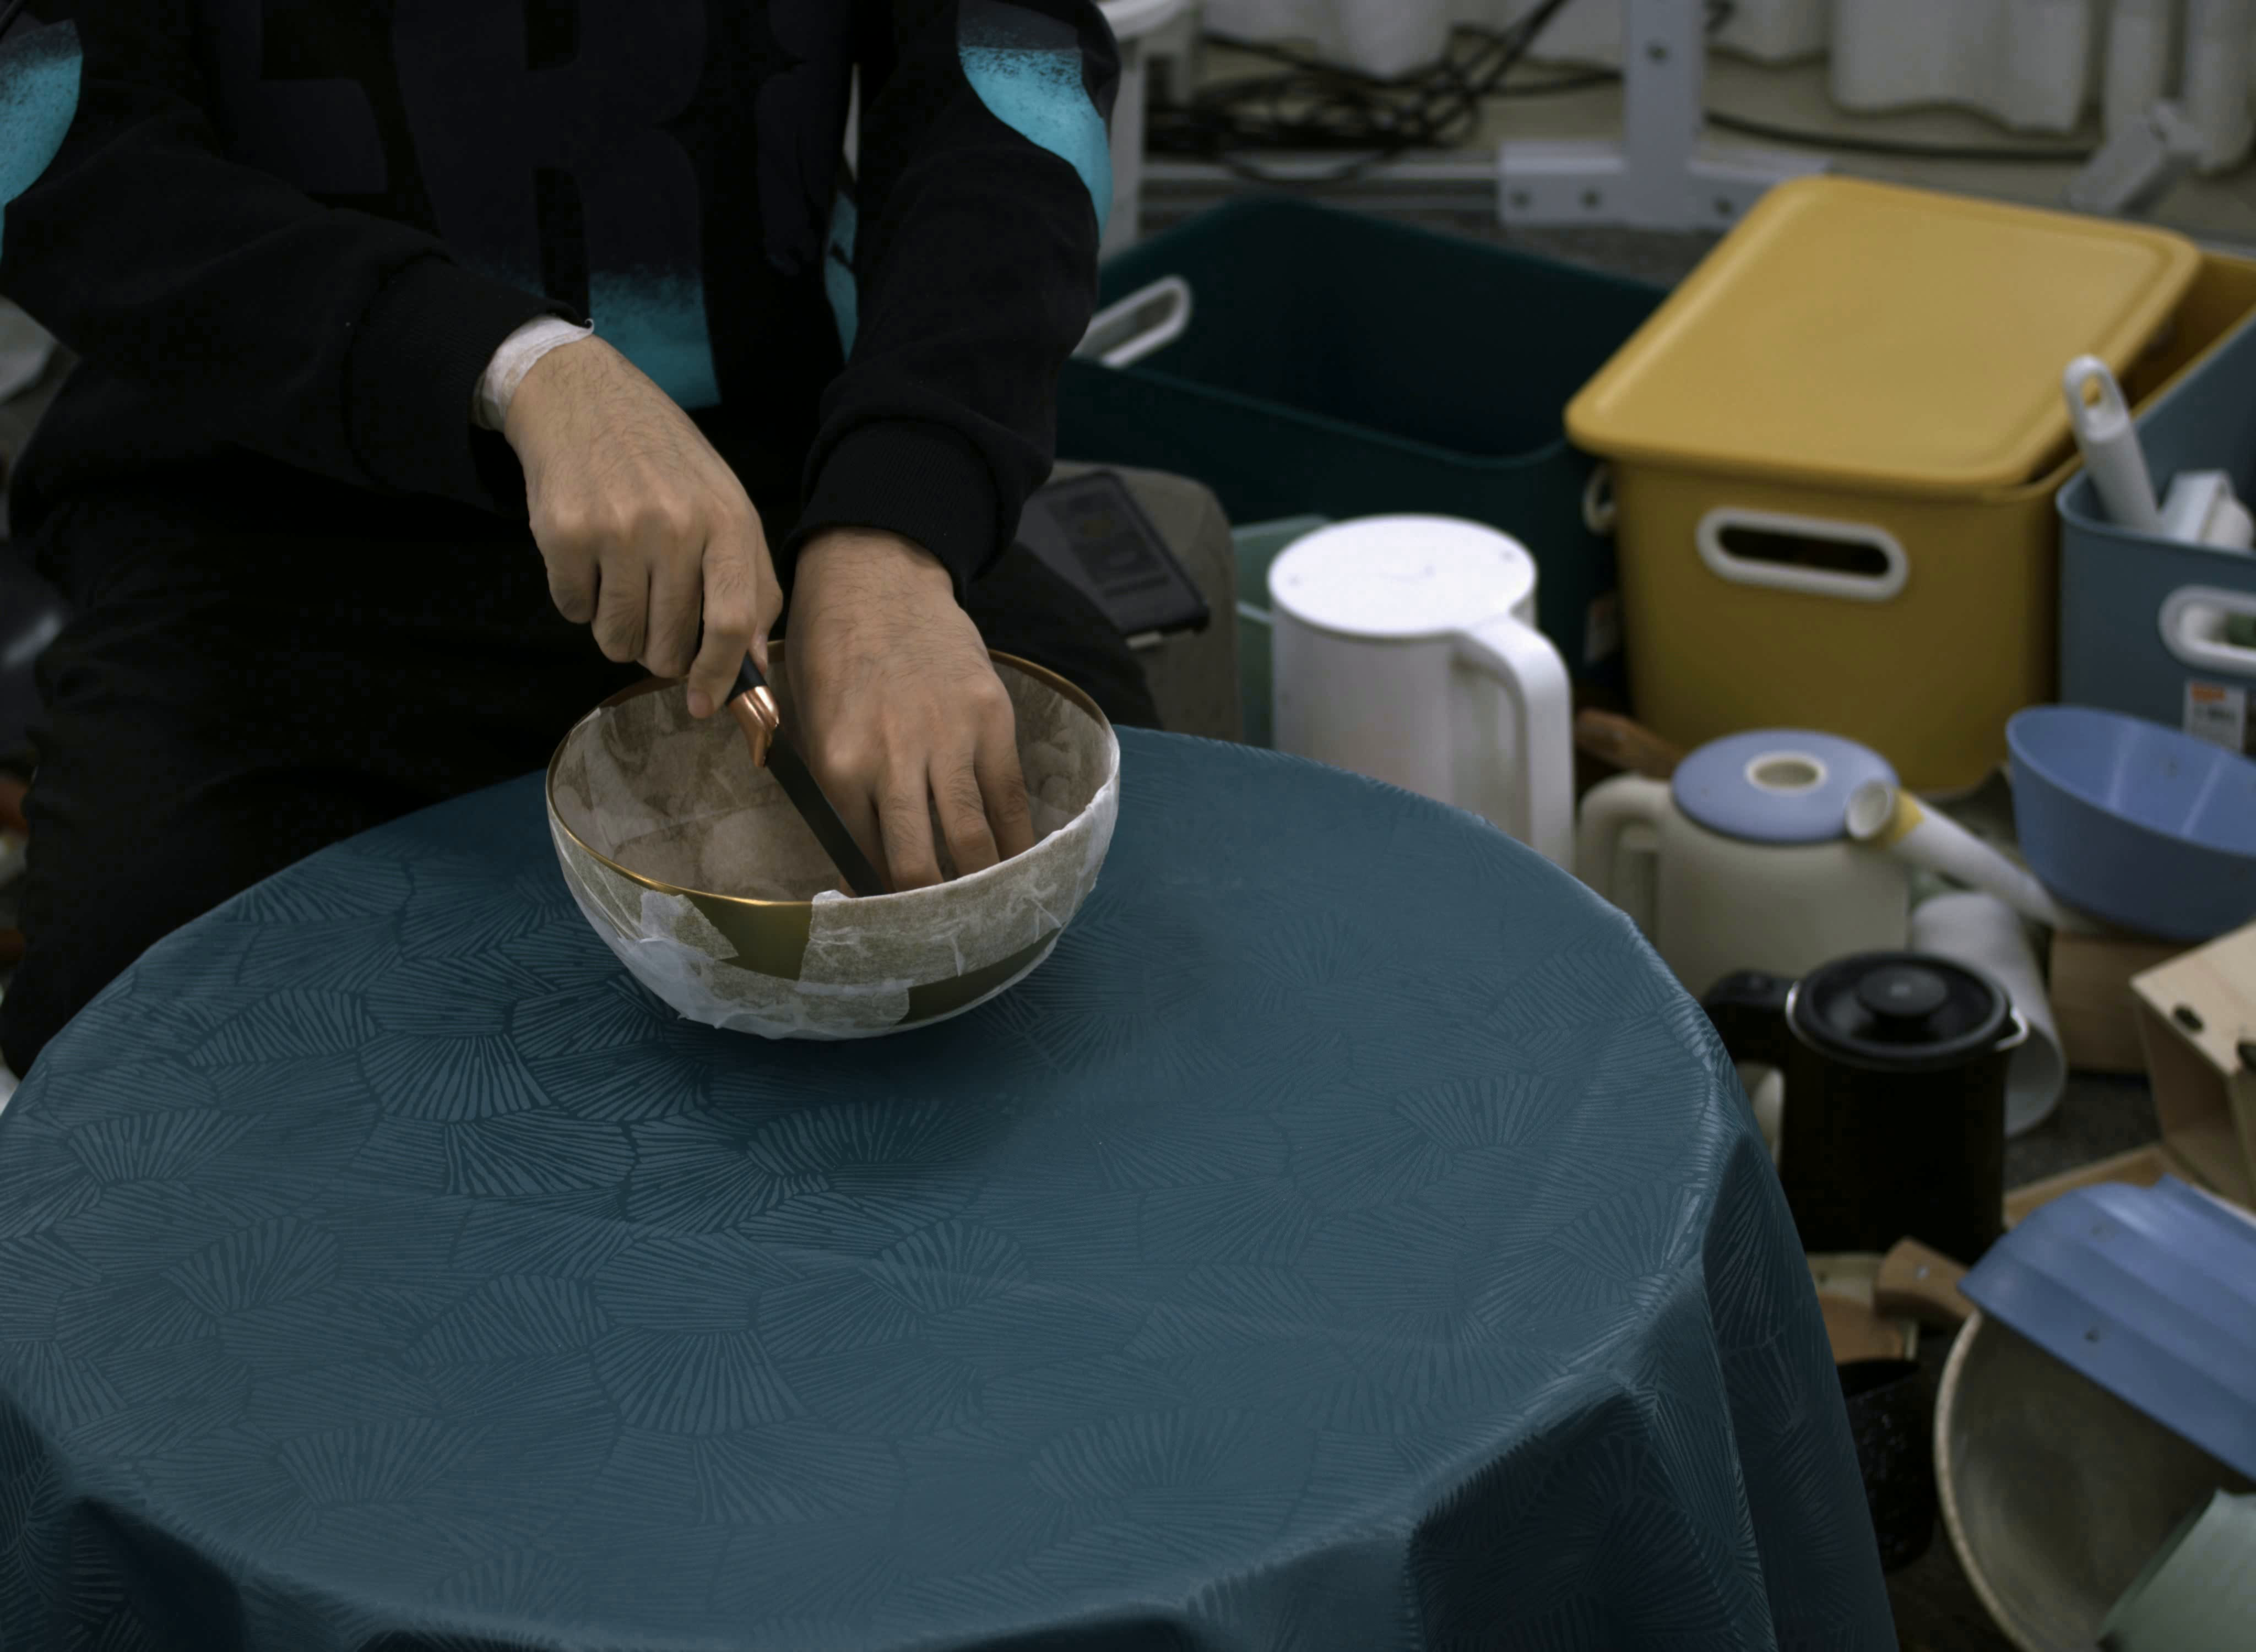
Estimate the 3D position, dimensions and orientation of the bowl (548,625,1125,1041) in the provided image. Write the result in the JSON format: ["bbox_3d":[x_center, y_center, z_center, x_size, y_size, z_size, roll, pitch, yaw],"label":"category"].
[{"bbox_3d":[-0.101,0.013,1.976,0.213,0.093,0.218,-2,29,2],"label":"bowl"}]

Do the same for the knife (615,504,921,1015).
[{"bbox_3d":[-0.124,-0.025,1.970,0.017,0.026,0.228,-11,56,-37],"label":"knife"}]
